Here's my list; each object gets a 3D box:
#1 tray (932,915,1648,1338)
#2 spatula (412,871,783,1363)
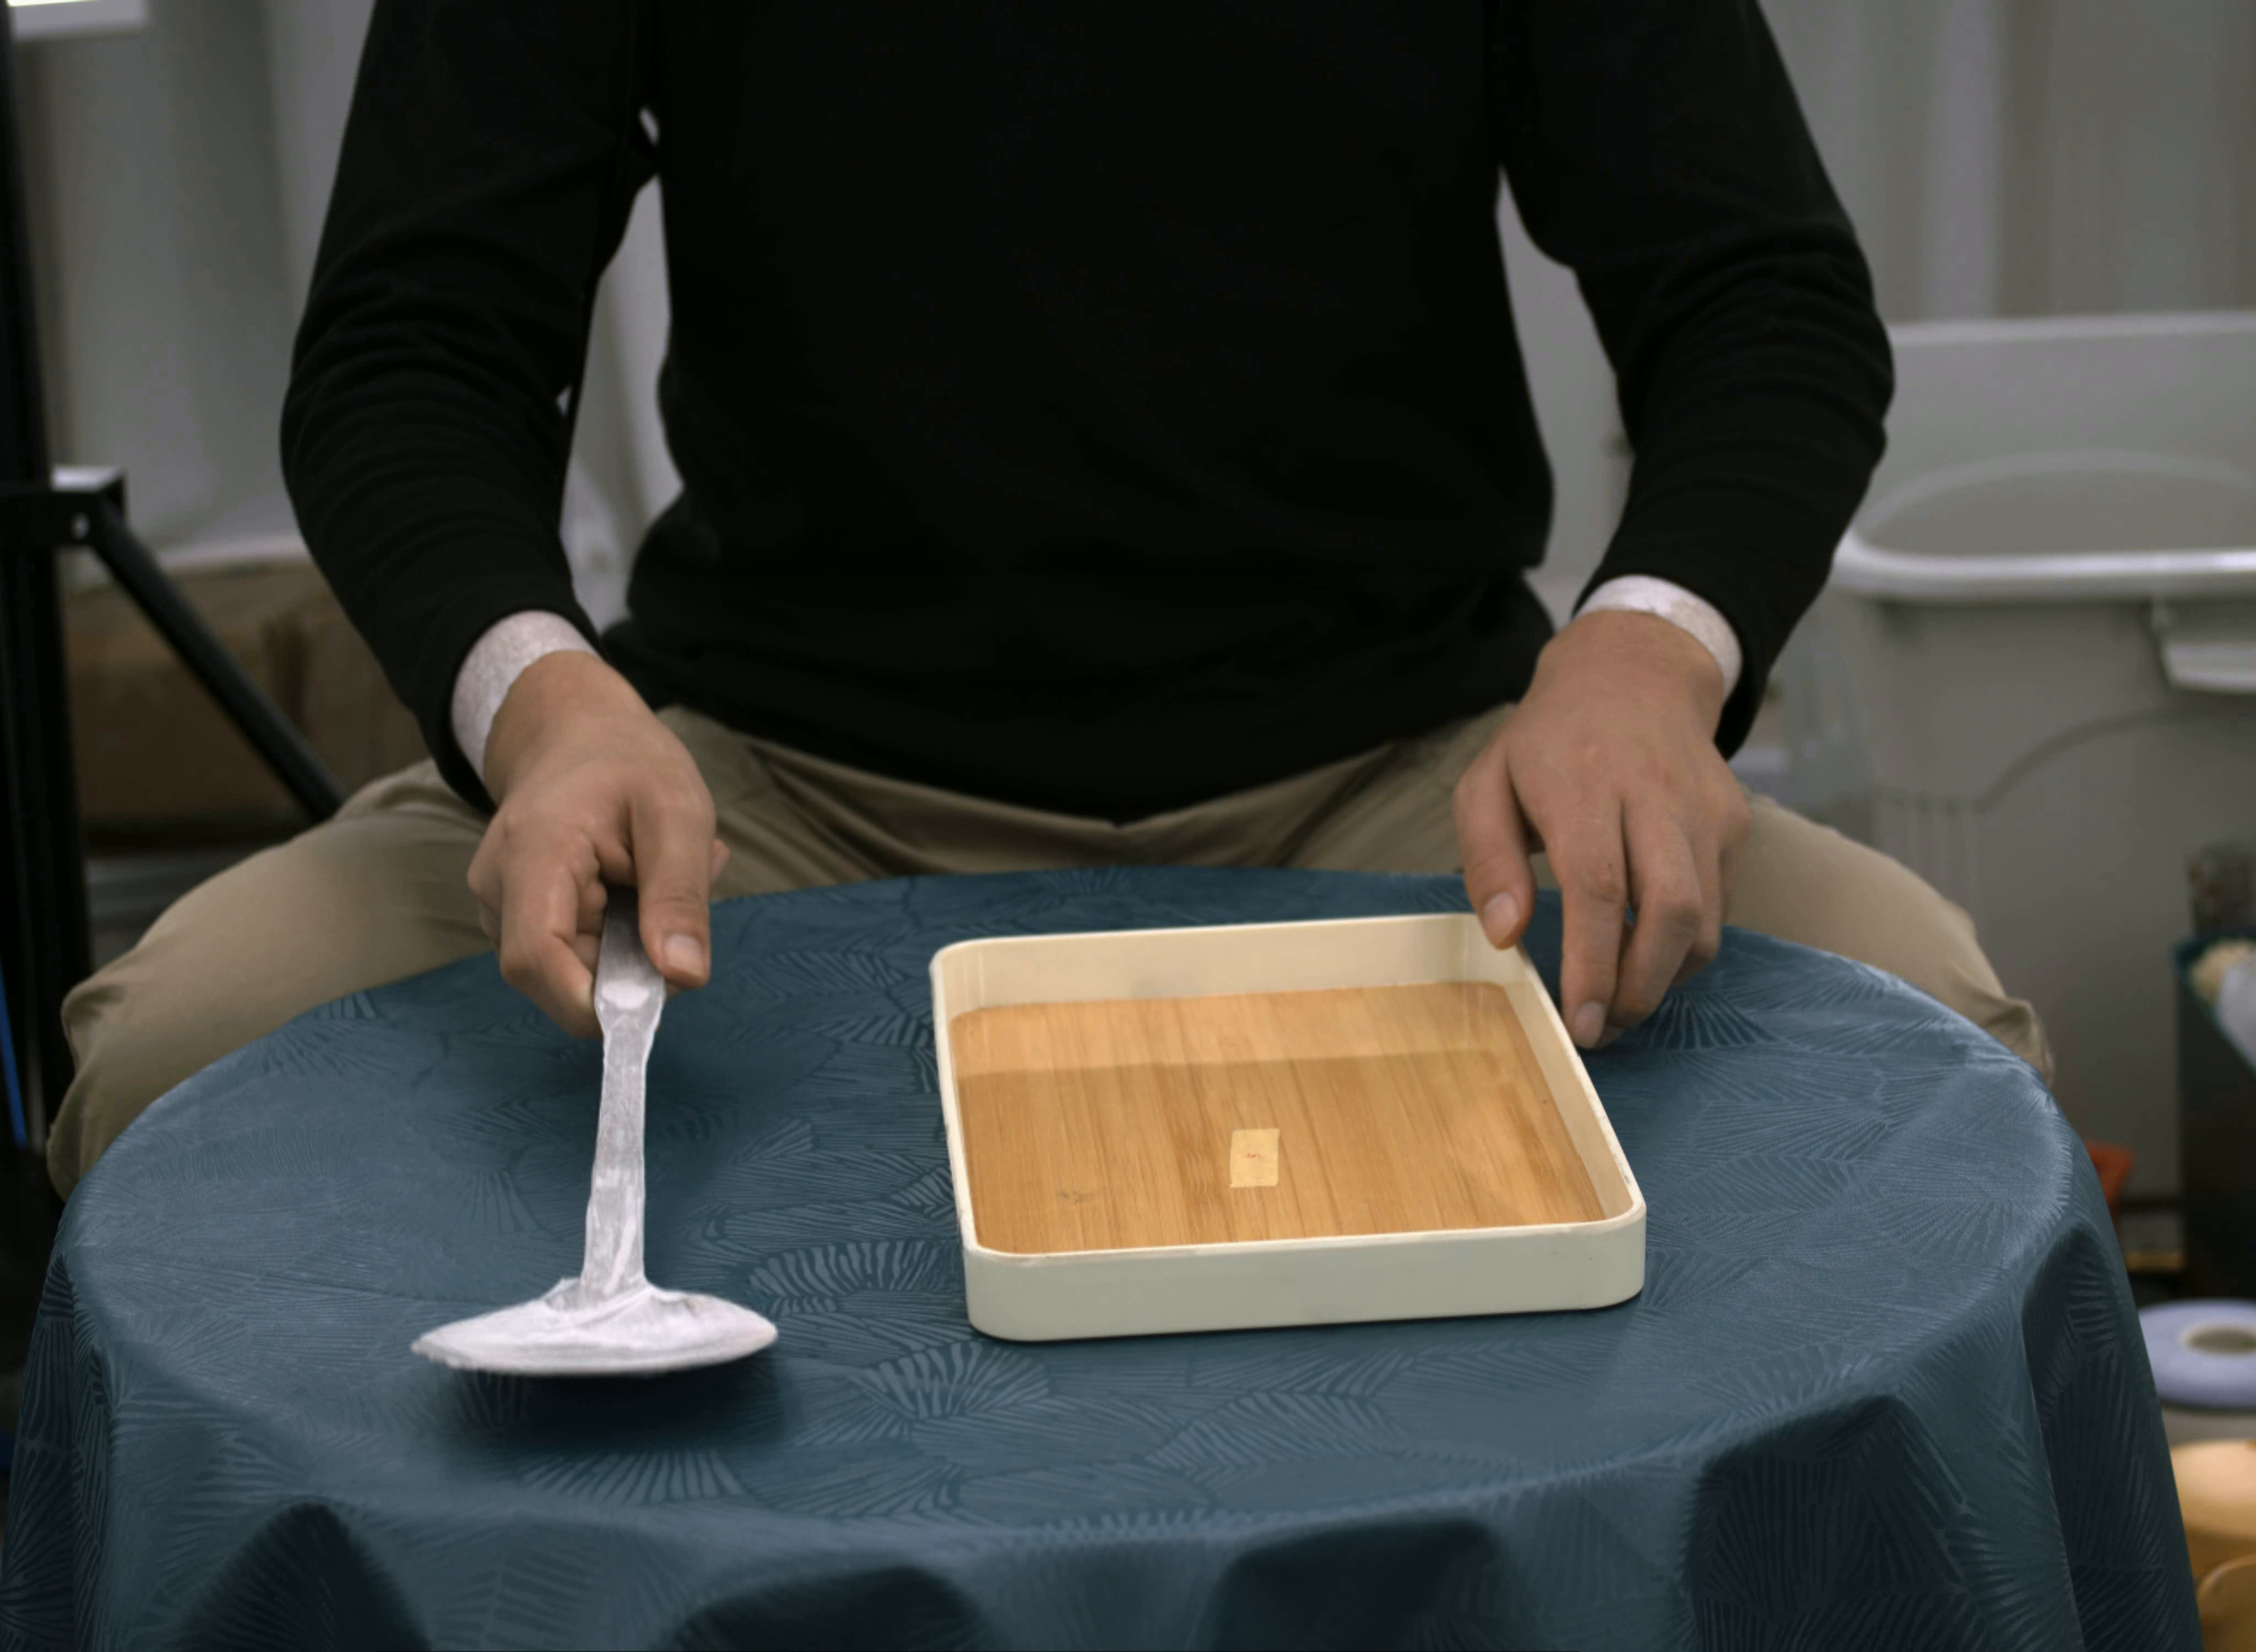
[{"bbox_3d":[0.041,0.085,1.582,0.190,0.027,0.302,-3,16,-2],"label":"tray"},{"bbox_3d":[-0.145,0.076,1.549,0.098,0.044,0.368,-3,26,-1],"label":"spatula"}]
